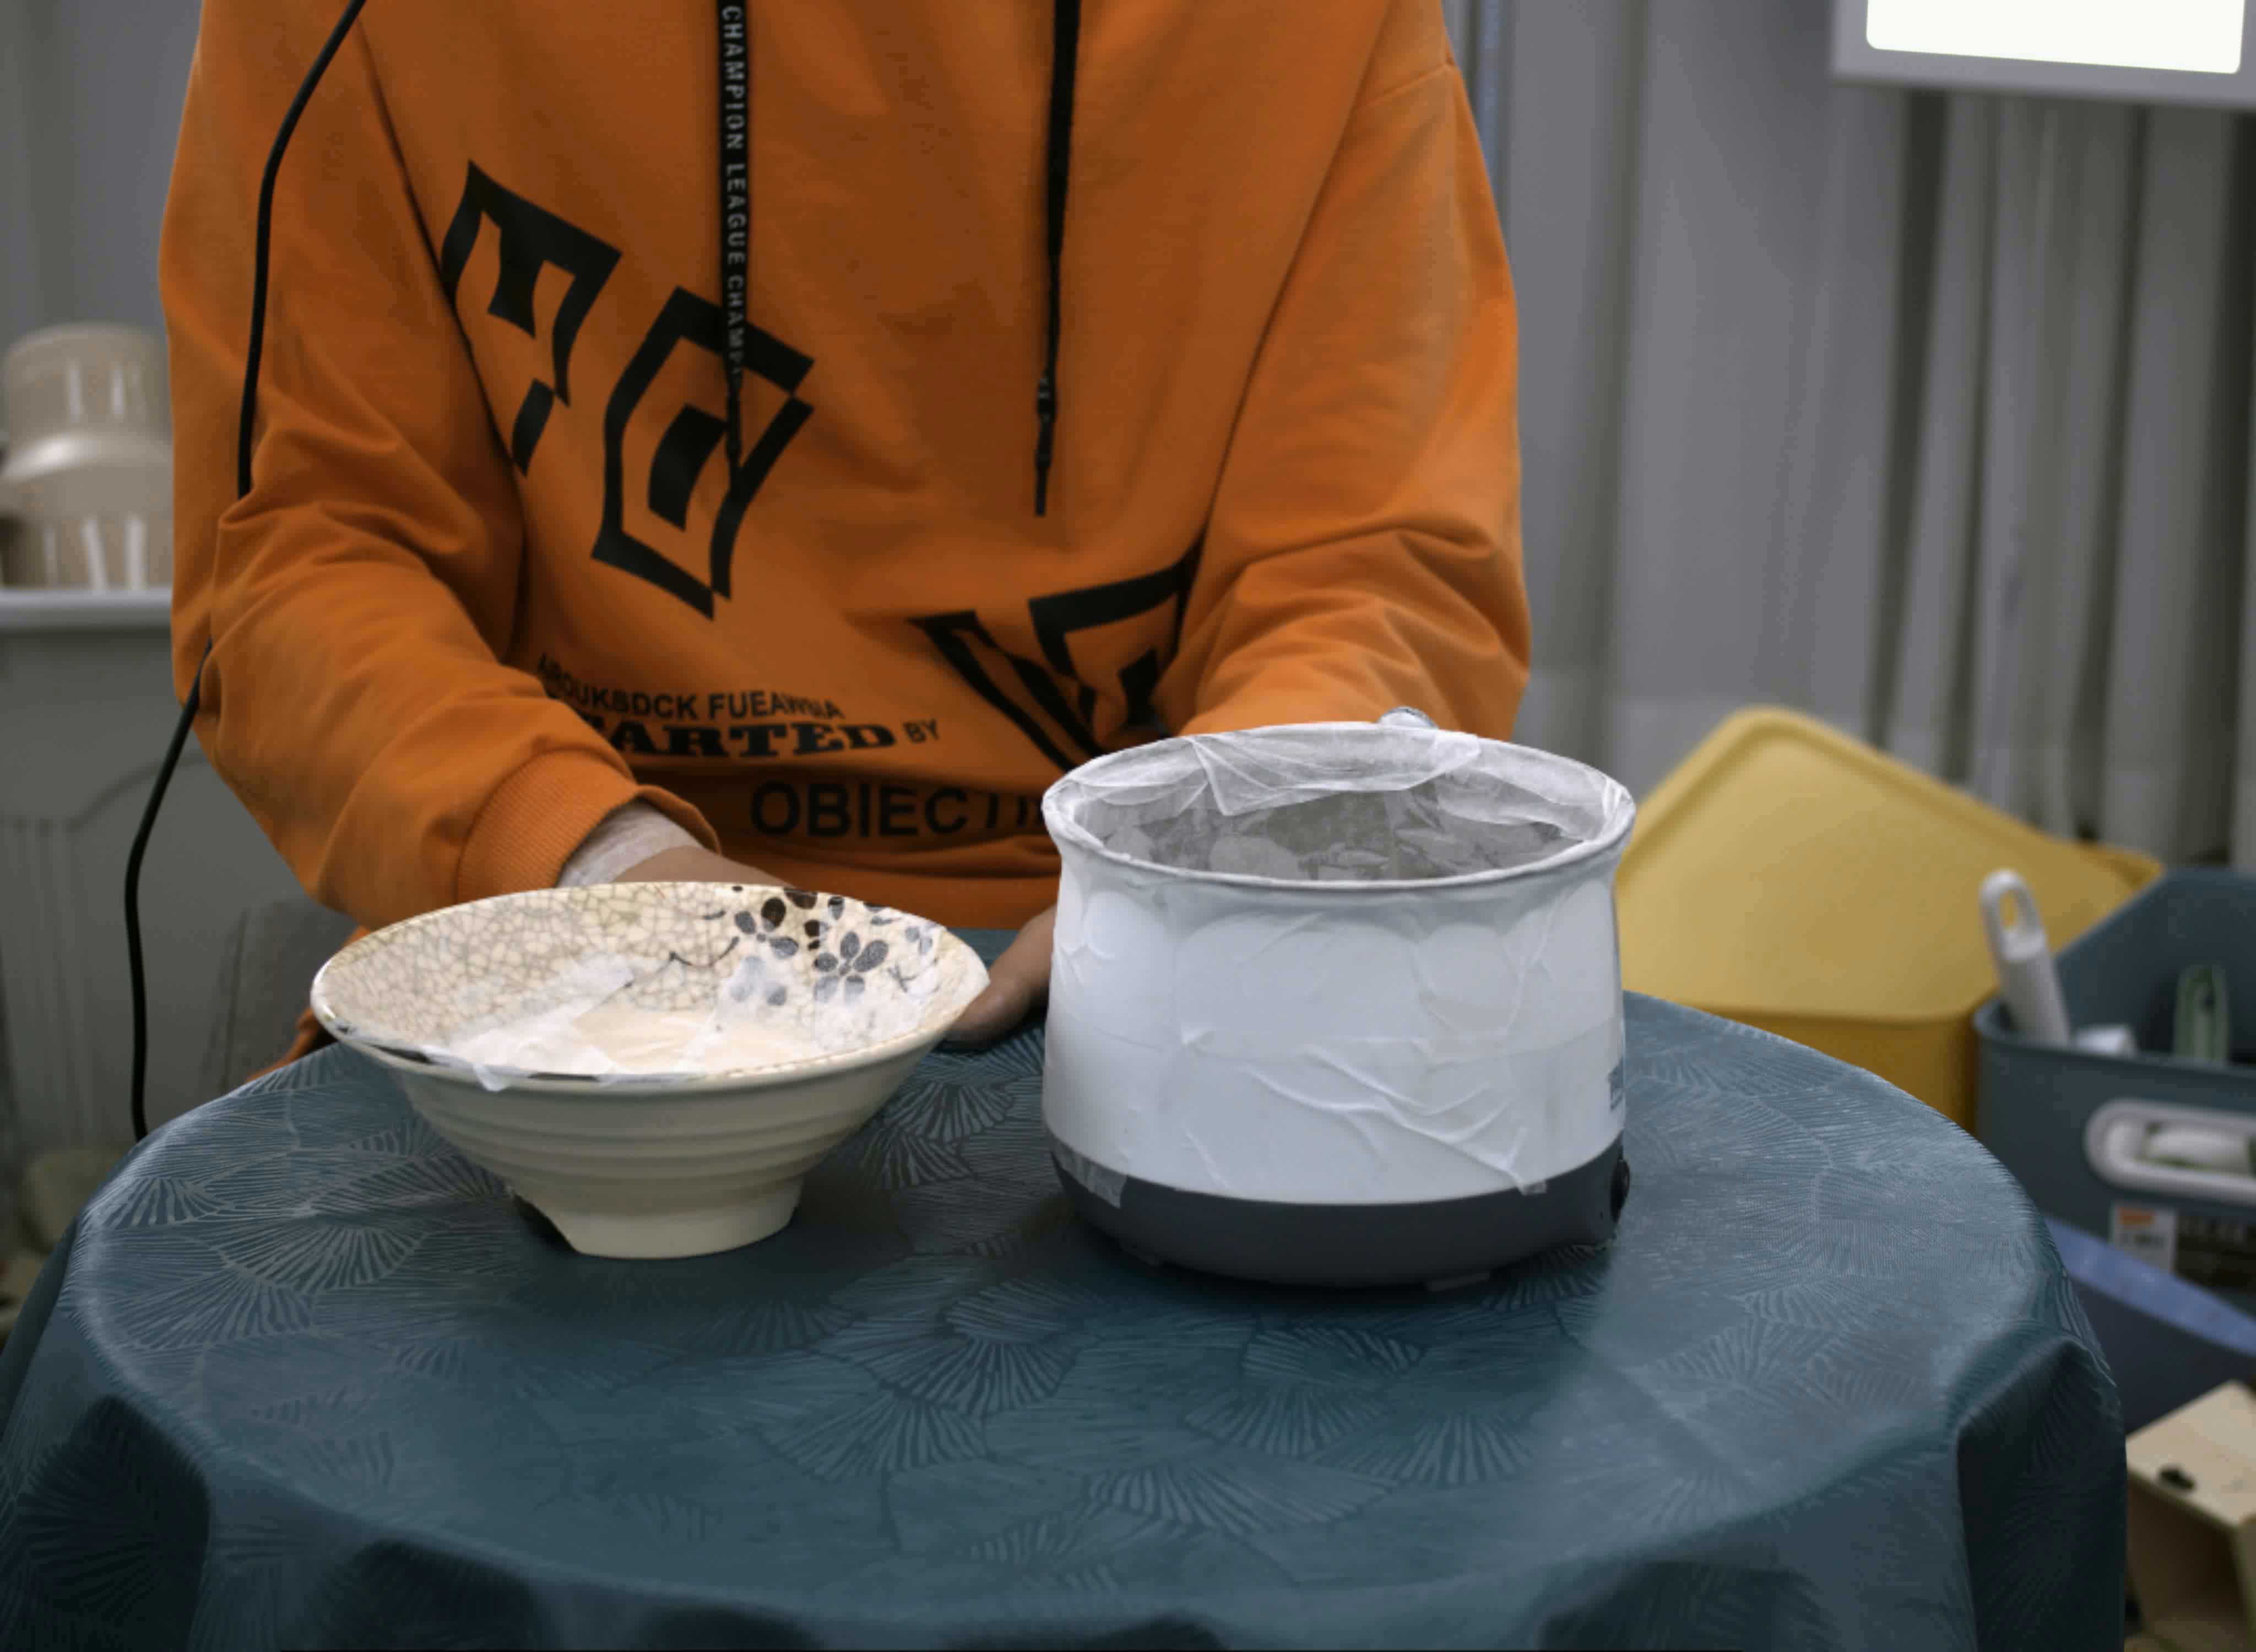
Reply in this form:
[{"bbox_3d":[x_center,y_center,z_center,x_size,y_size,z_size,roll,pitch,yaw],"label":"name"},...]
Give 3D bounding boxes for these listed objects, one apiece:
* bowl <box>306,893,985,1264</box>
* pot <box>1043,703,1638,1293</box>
[{"bbox_3d":[-0.144,0.082,1.588,0.203,0.078,0.203,0,14,1],"label":"bowl"},{"bbox_3d":[0.069,0.046,1.606,0.177,0.138,0.233,4,16,12],"label":"pot"}]
